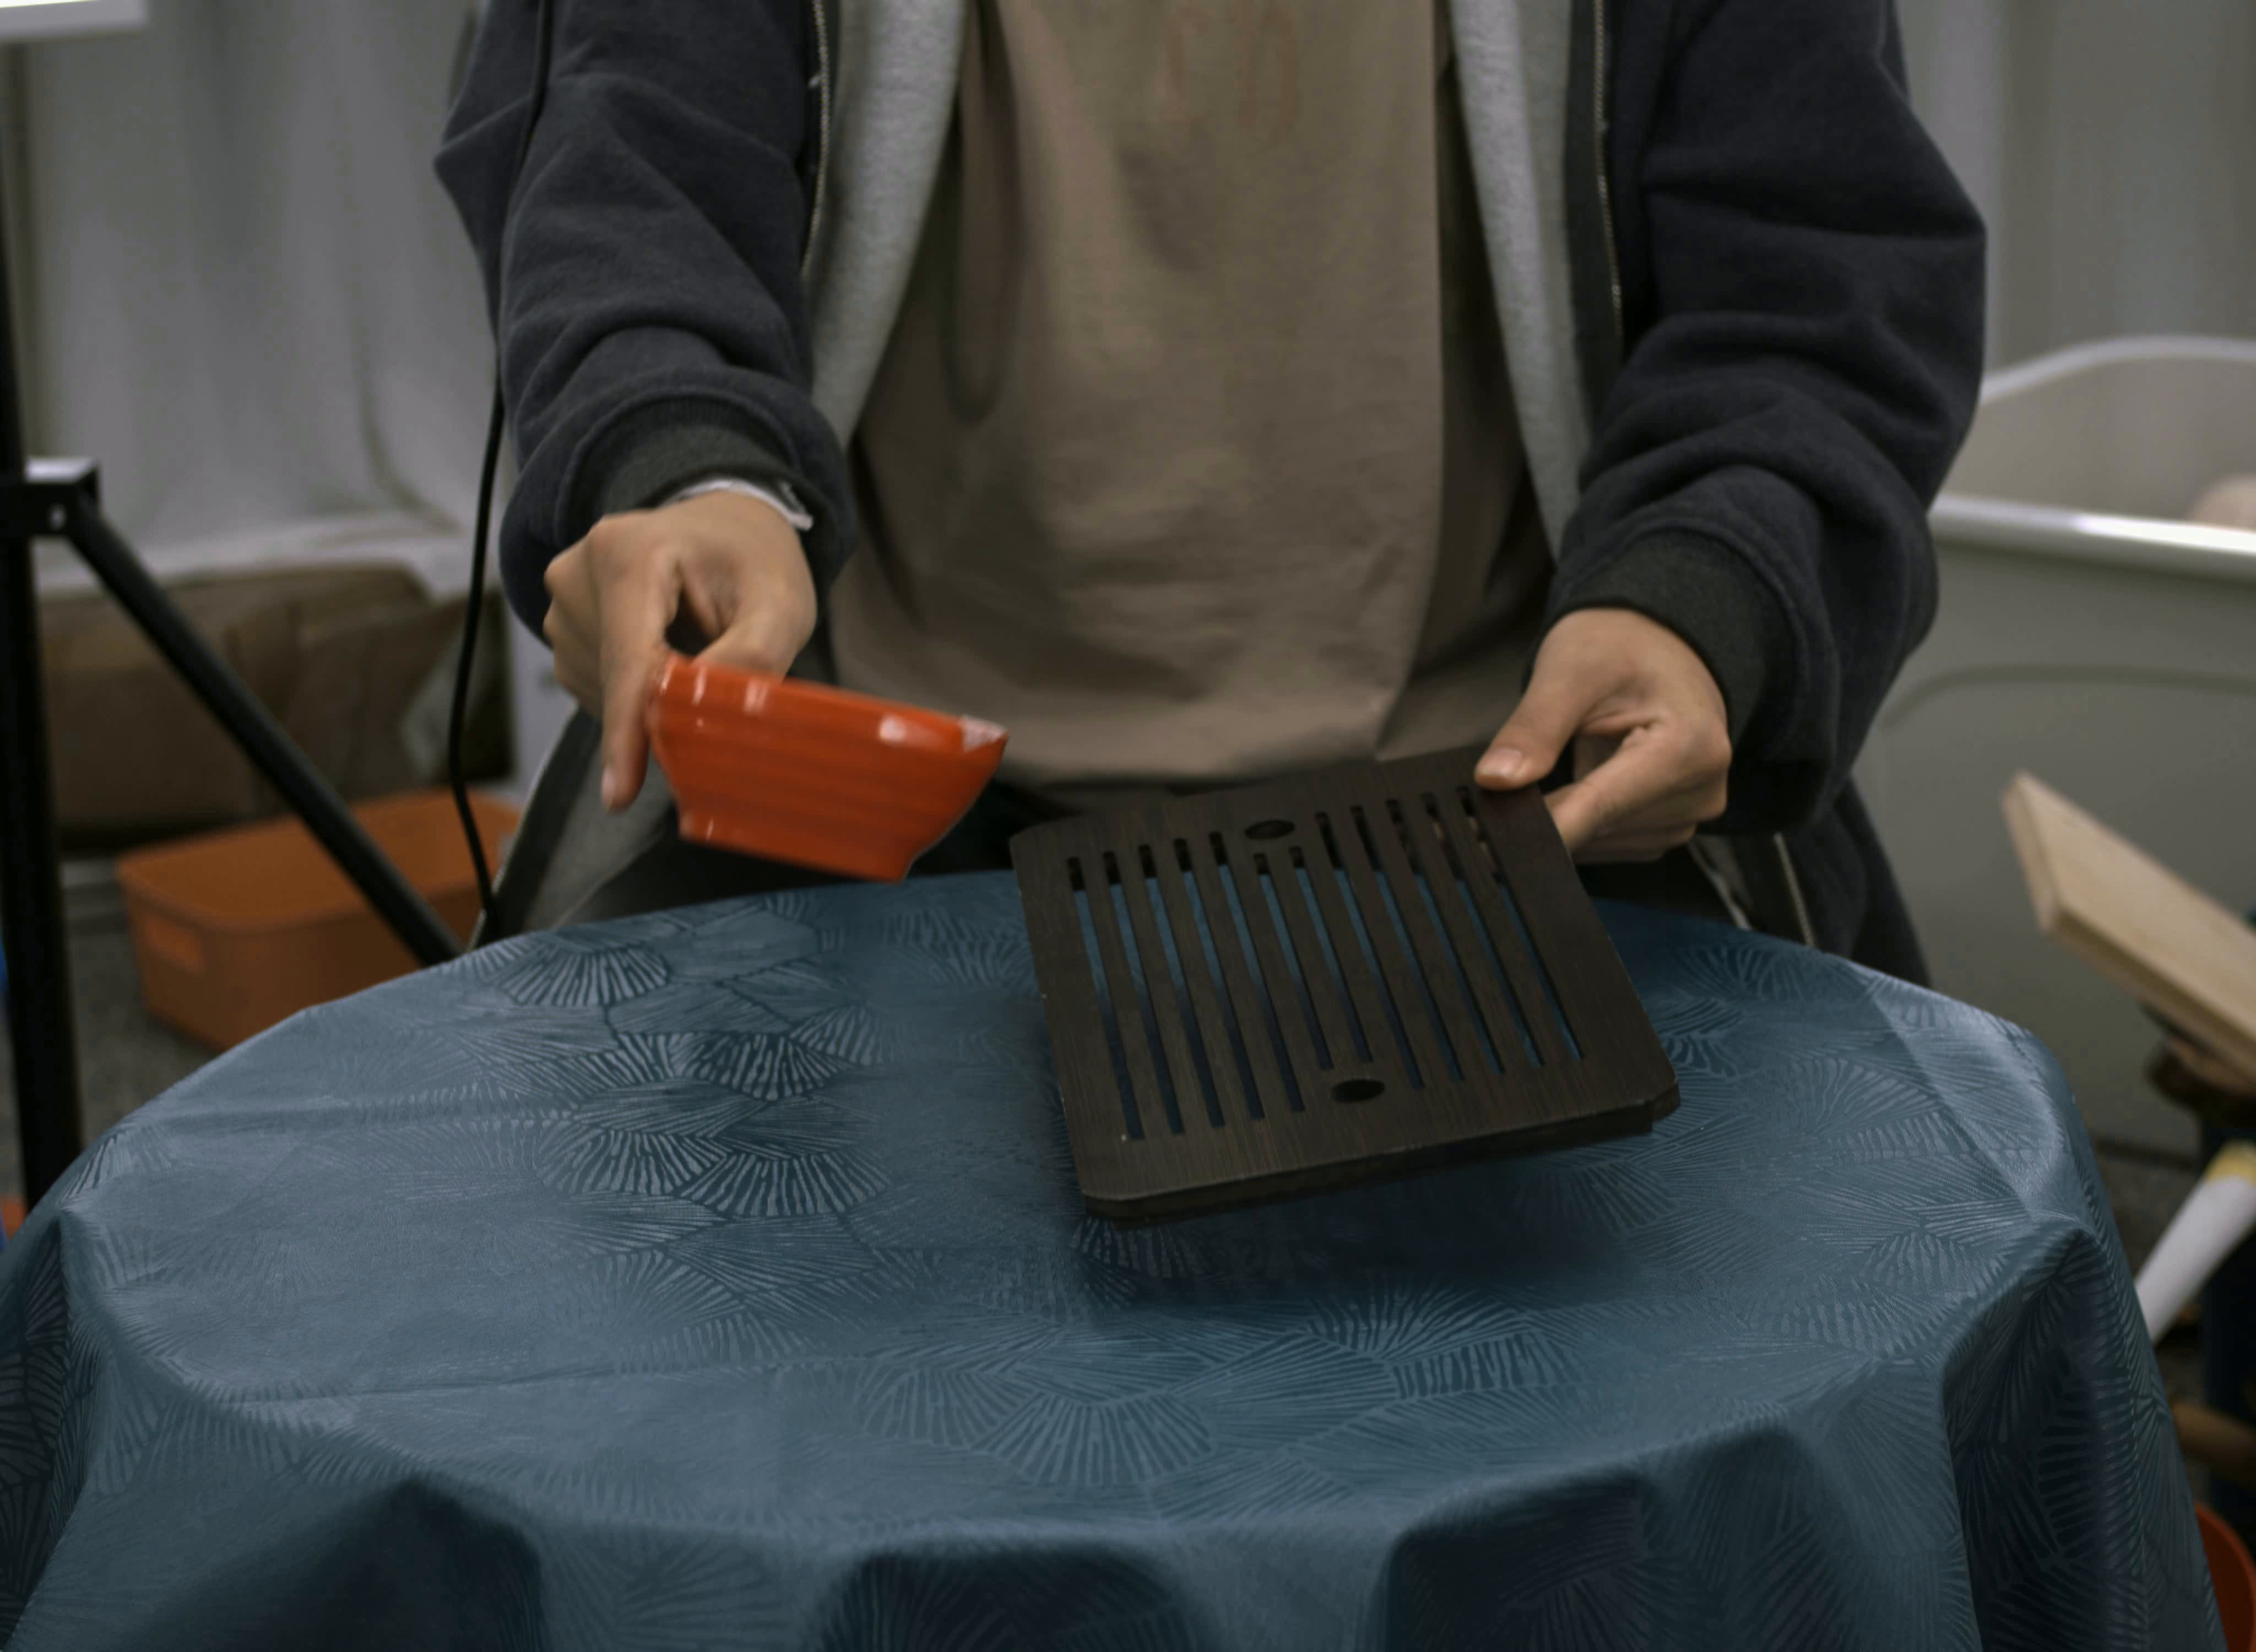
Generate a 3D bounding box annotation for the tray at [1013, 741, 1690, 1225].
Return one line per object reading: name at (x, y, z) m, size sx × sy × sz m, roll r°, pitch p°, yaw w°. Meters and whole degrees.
tray at (0.060, 0.044, 1.599) m, size 0.169 × 0.018 × 0.308 m, roll -11°, pitch 20°, yaw -1°

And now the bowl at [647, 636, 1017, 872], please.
bowl at (-0.092, -0.019, 1.568) m, size 0.118 × 0.051 × 0.119 m, roll 13°, pitch -2°, yaw -1°
